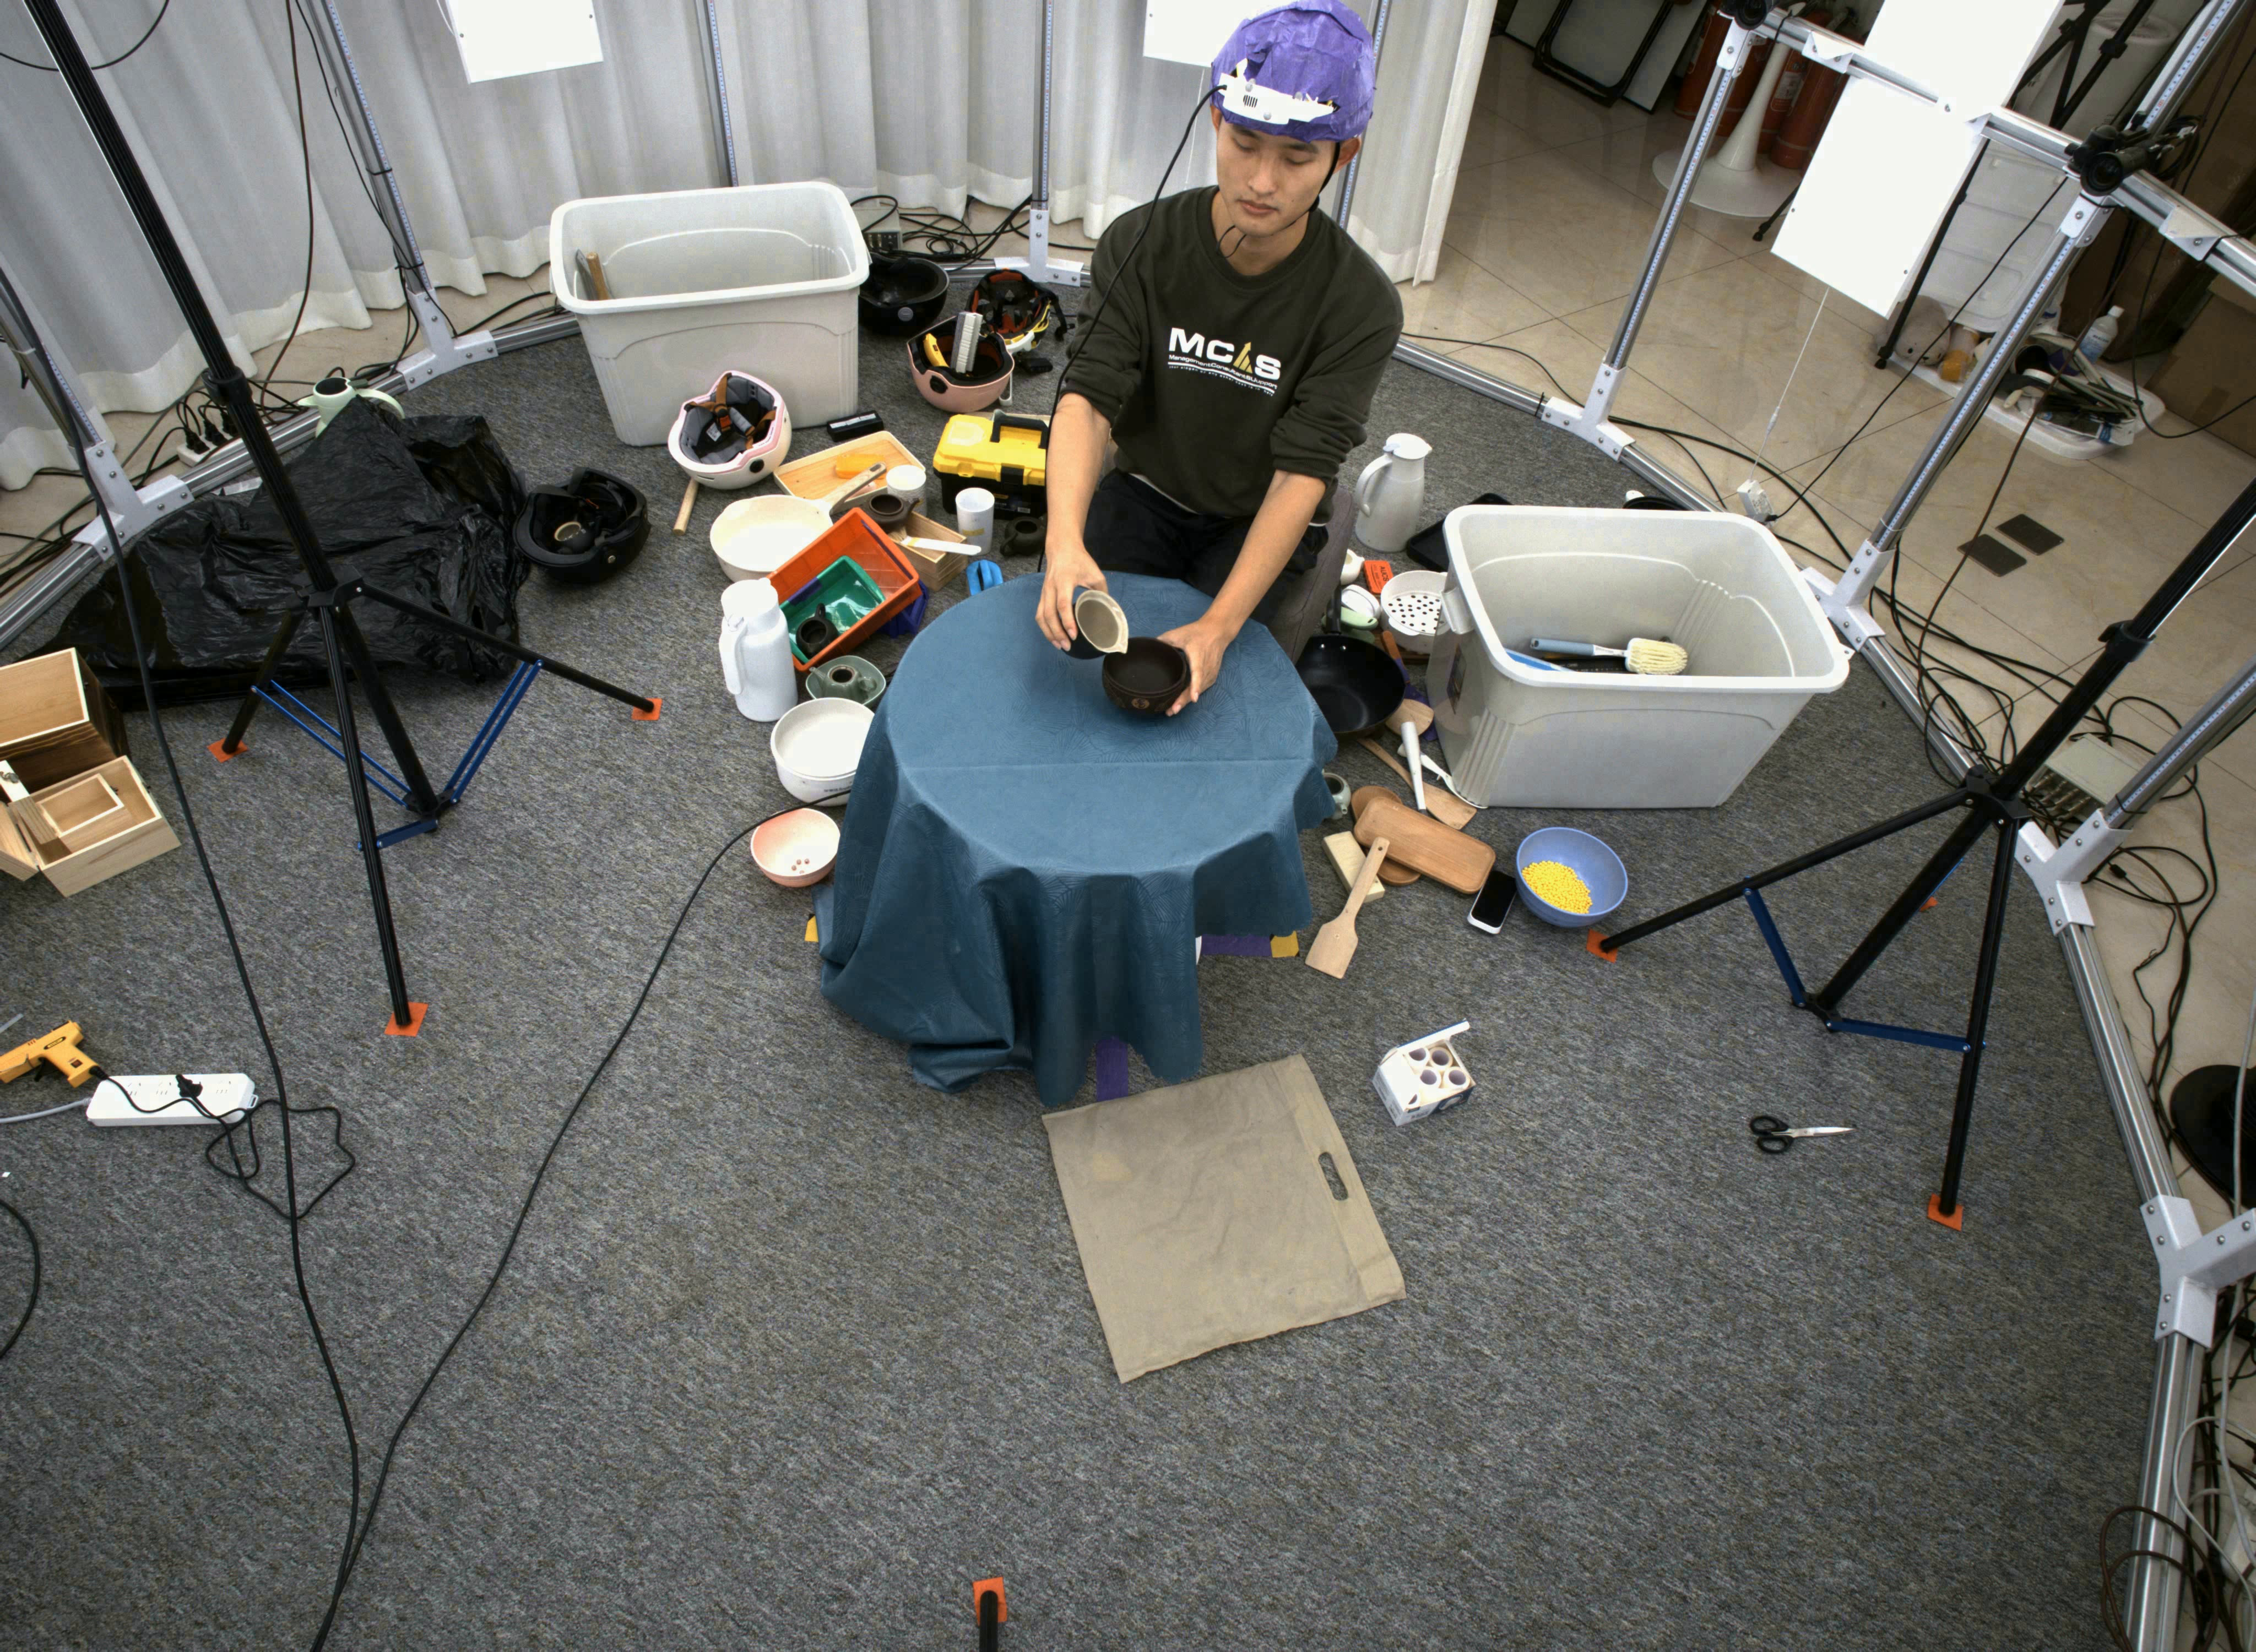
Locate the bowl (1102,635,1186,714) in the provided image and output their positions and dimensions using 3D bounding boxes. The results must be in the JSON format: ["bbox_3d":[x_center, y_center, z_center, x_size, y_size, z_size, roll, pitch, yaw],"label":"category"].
[{"bbox_3d":[0.022,-0.204,1.797,0.118,0.068,0.121,1,50,-1],"label":"bowl"}]

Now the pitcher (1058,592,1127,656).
[{"bbox_3d":[-0.053,-0.270,1.776,0.095,0.071,0.085,54,44,-11],"label":"pitcher"}]
